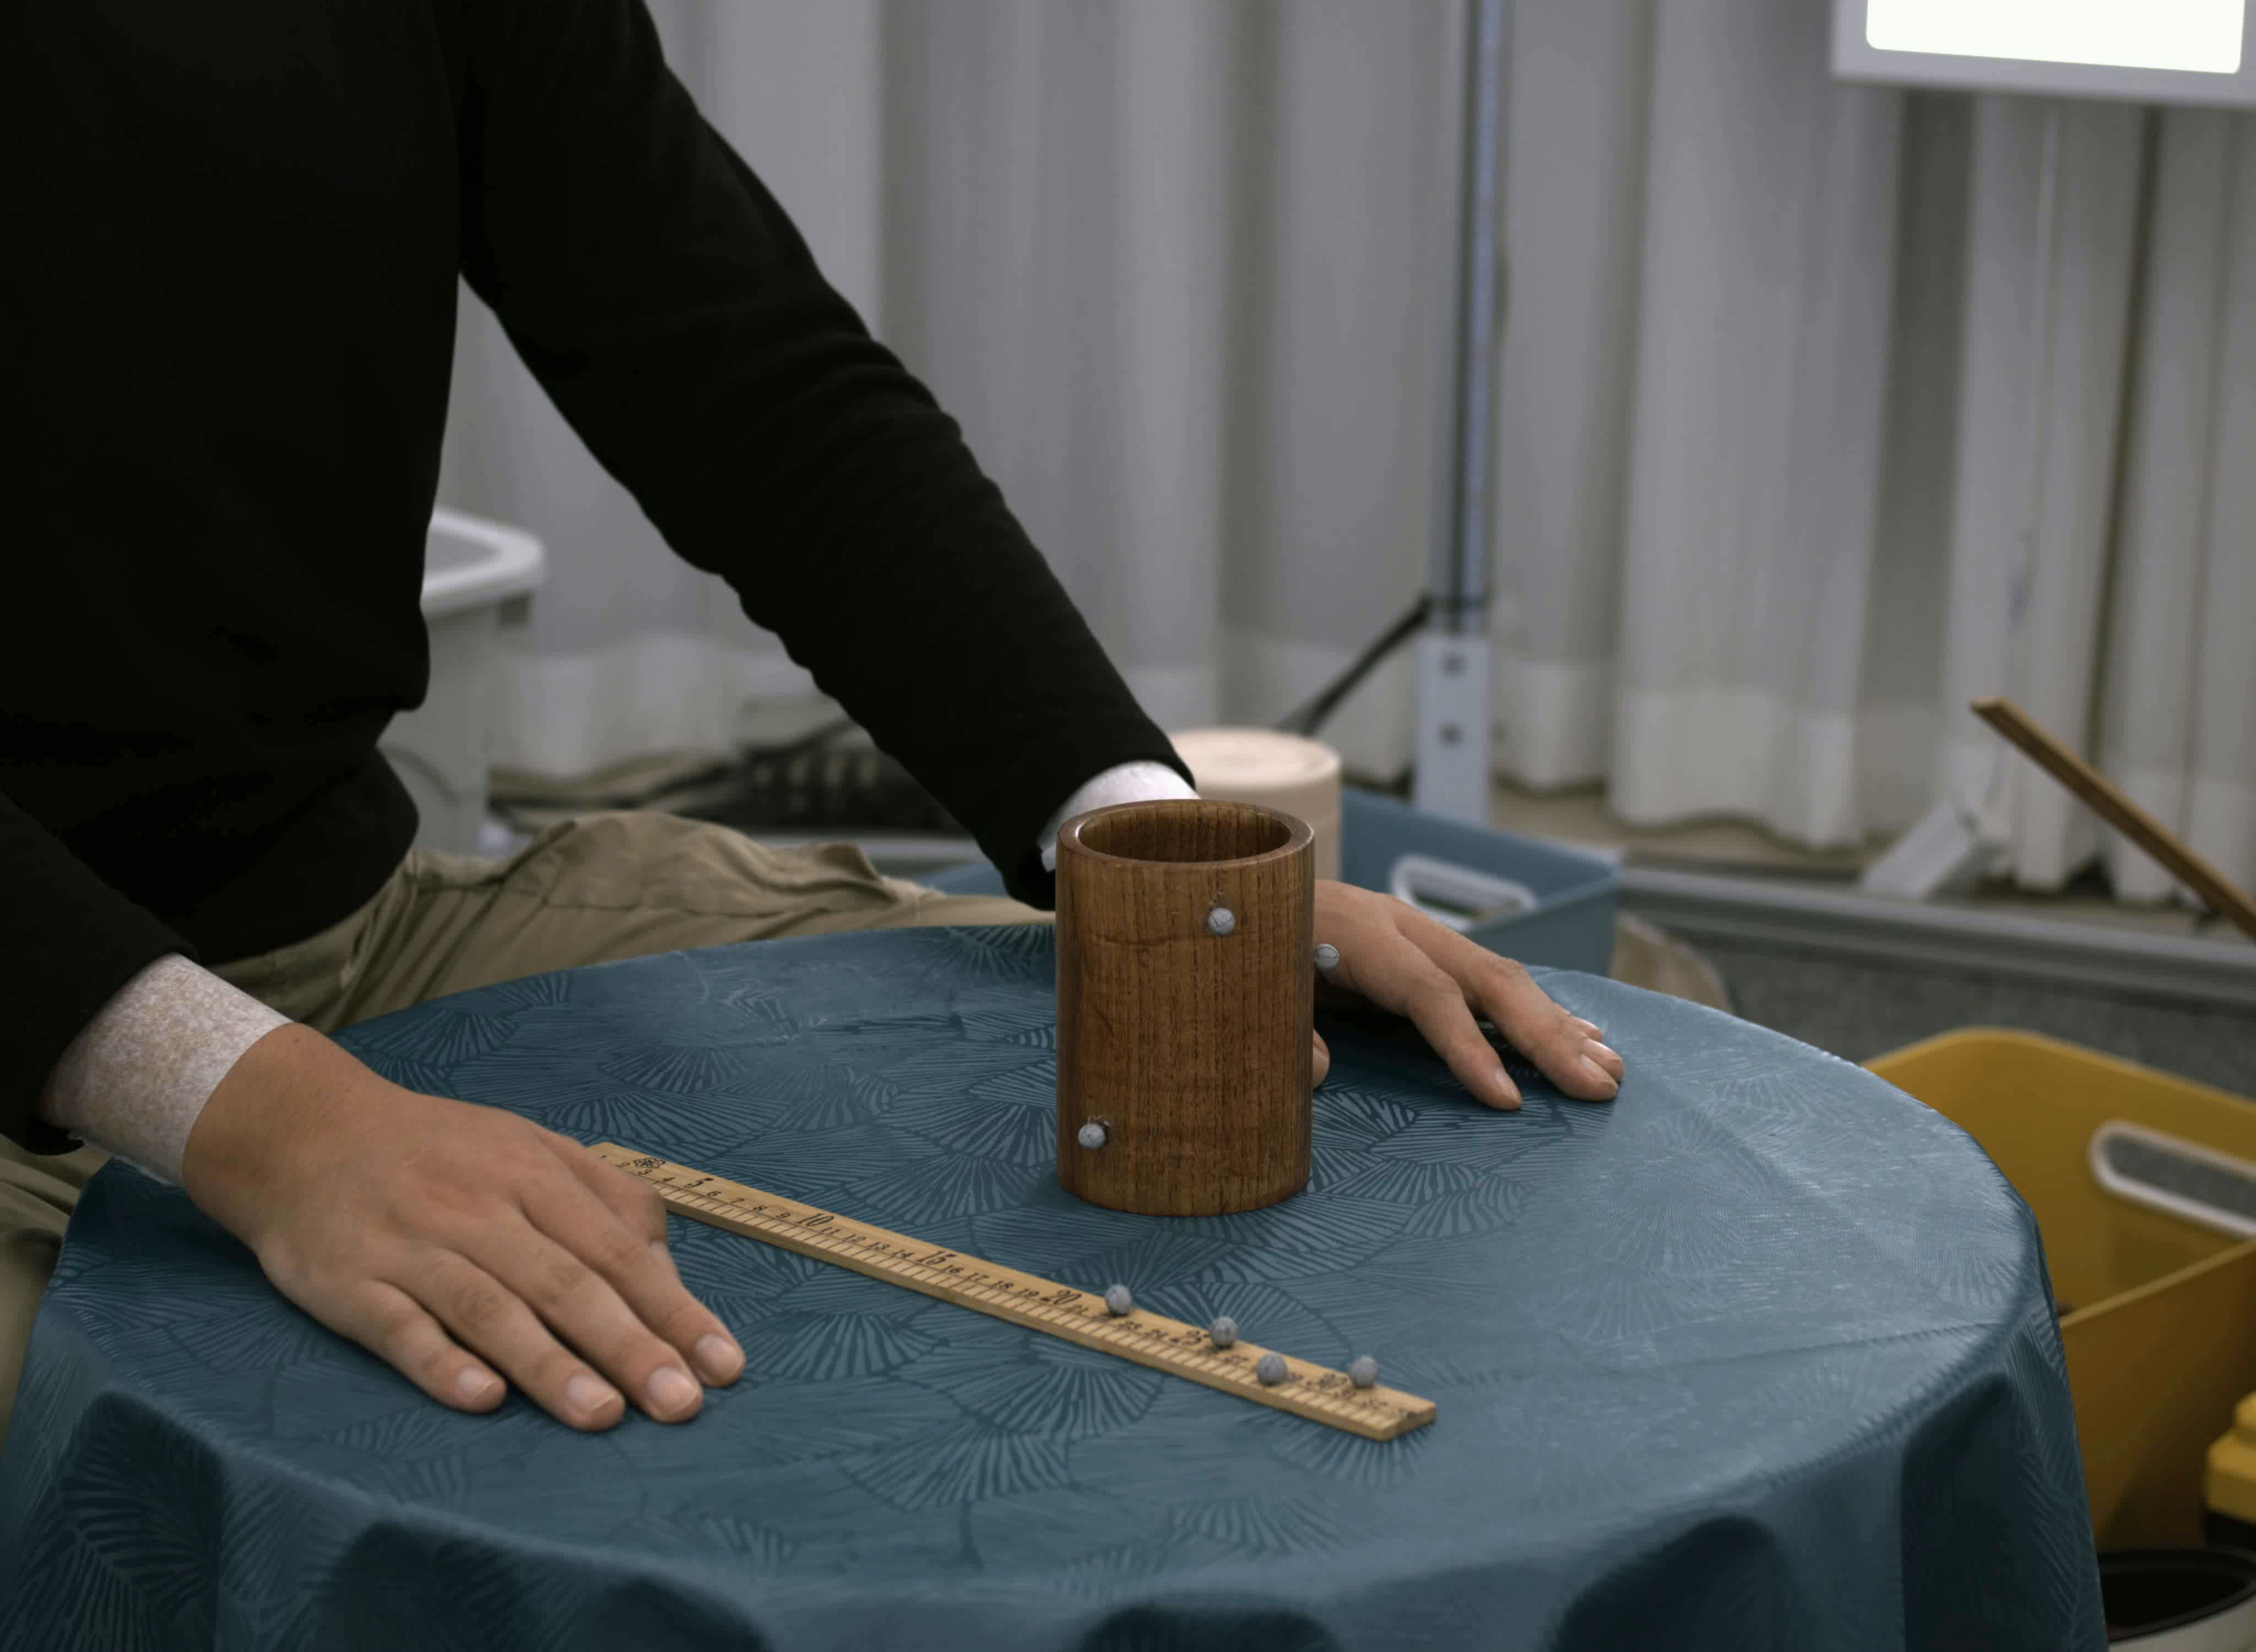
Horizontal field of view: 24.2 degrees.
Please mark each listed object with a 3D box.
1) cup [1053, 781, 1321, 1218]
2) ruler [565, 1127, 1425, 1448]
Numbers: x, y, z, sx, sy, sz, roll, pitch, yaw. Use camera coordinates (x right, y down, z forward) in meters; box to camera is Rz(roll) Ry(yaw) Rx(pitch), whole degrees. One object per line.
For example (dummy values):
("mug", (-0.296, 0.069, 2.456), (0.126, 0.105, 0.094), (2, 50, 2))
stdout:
("cup", (0.018, 0.053, 1.618), (0.087, 0.119, 0.087), (1, 15, 0))
("ruler", (-0.047, 0.130, 1.538), (0.327, 0.022, 0.027), (15, 17, 40))
